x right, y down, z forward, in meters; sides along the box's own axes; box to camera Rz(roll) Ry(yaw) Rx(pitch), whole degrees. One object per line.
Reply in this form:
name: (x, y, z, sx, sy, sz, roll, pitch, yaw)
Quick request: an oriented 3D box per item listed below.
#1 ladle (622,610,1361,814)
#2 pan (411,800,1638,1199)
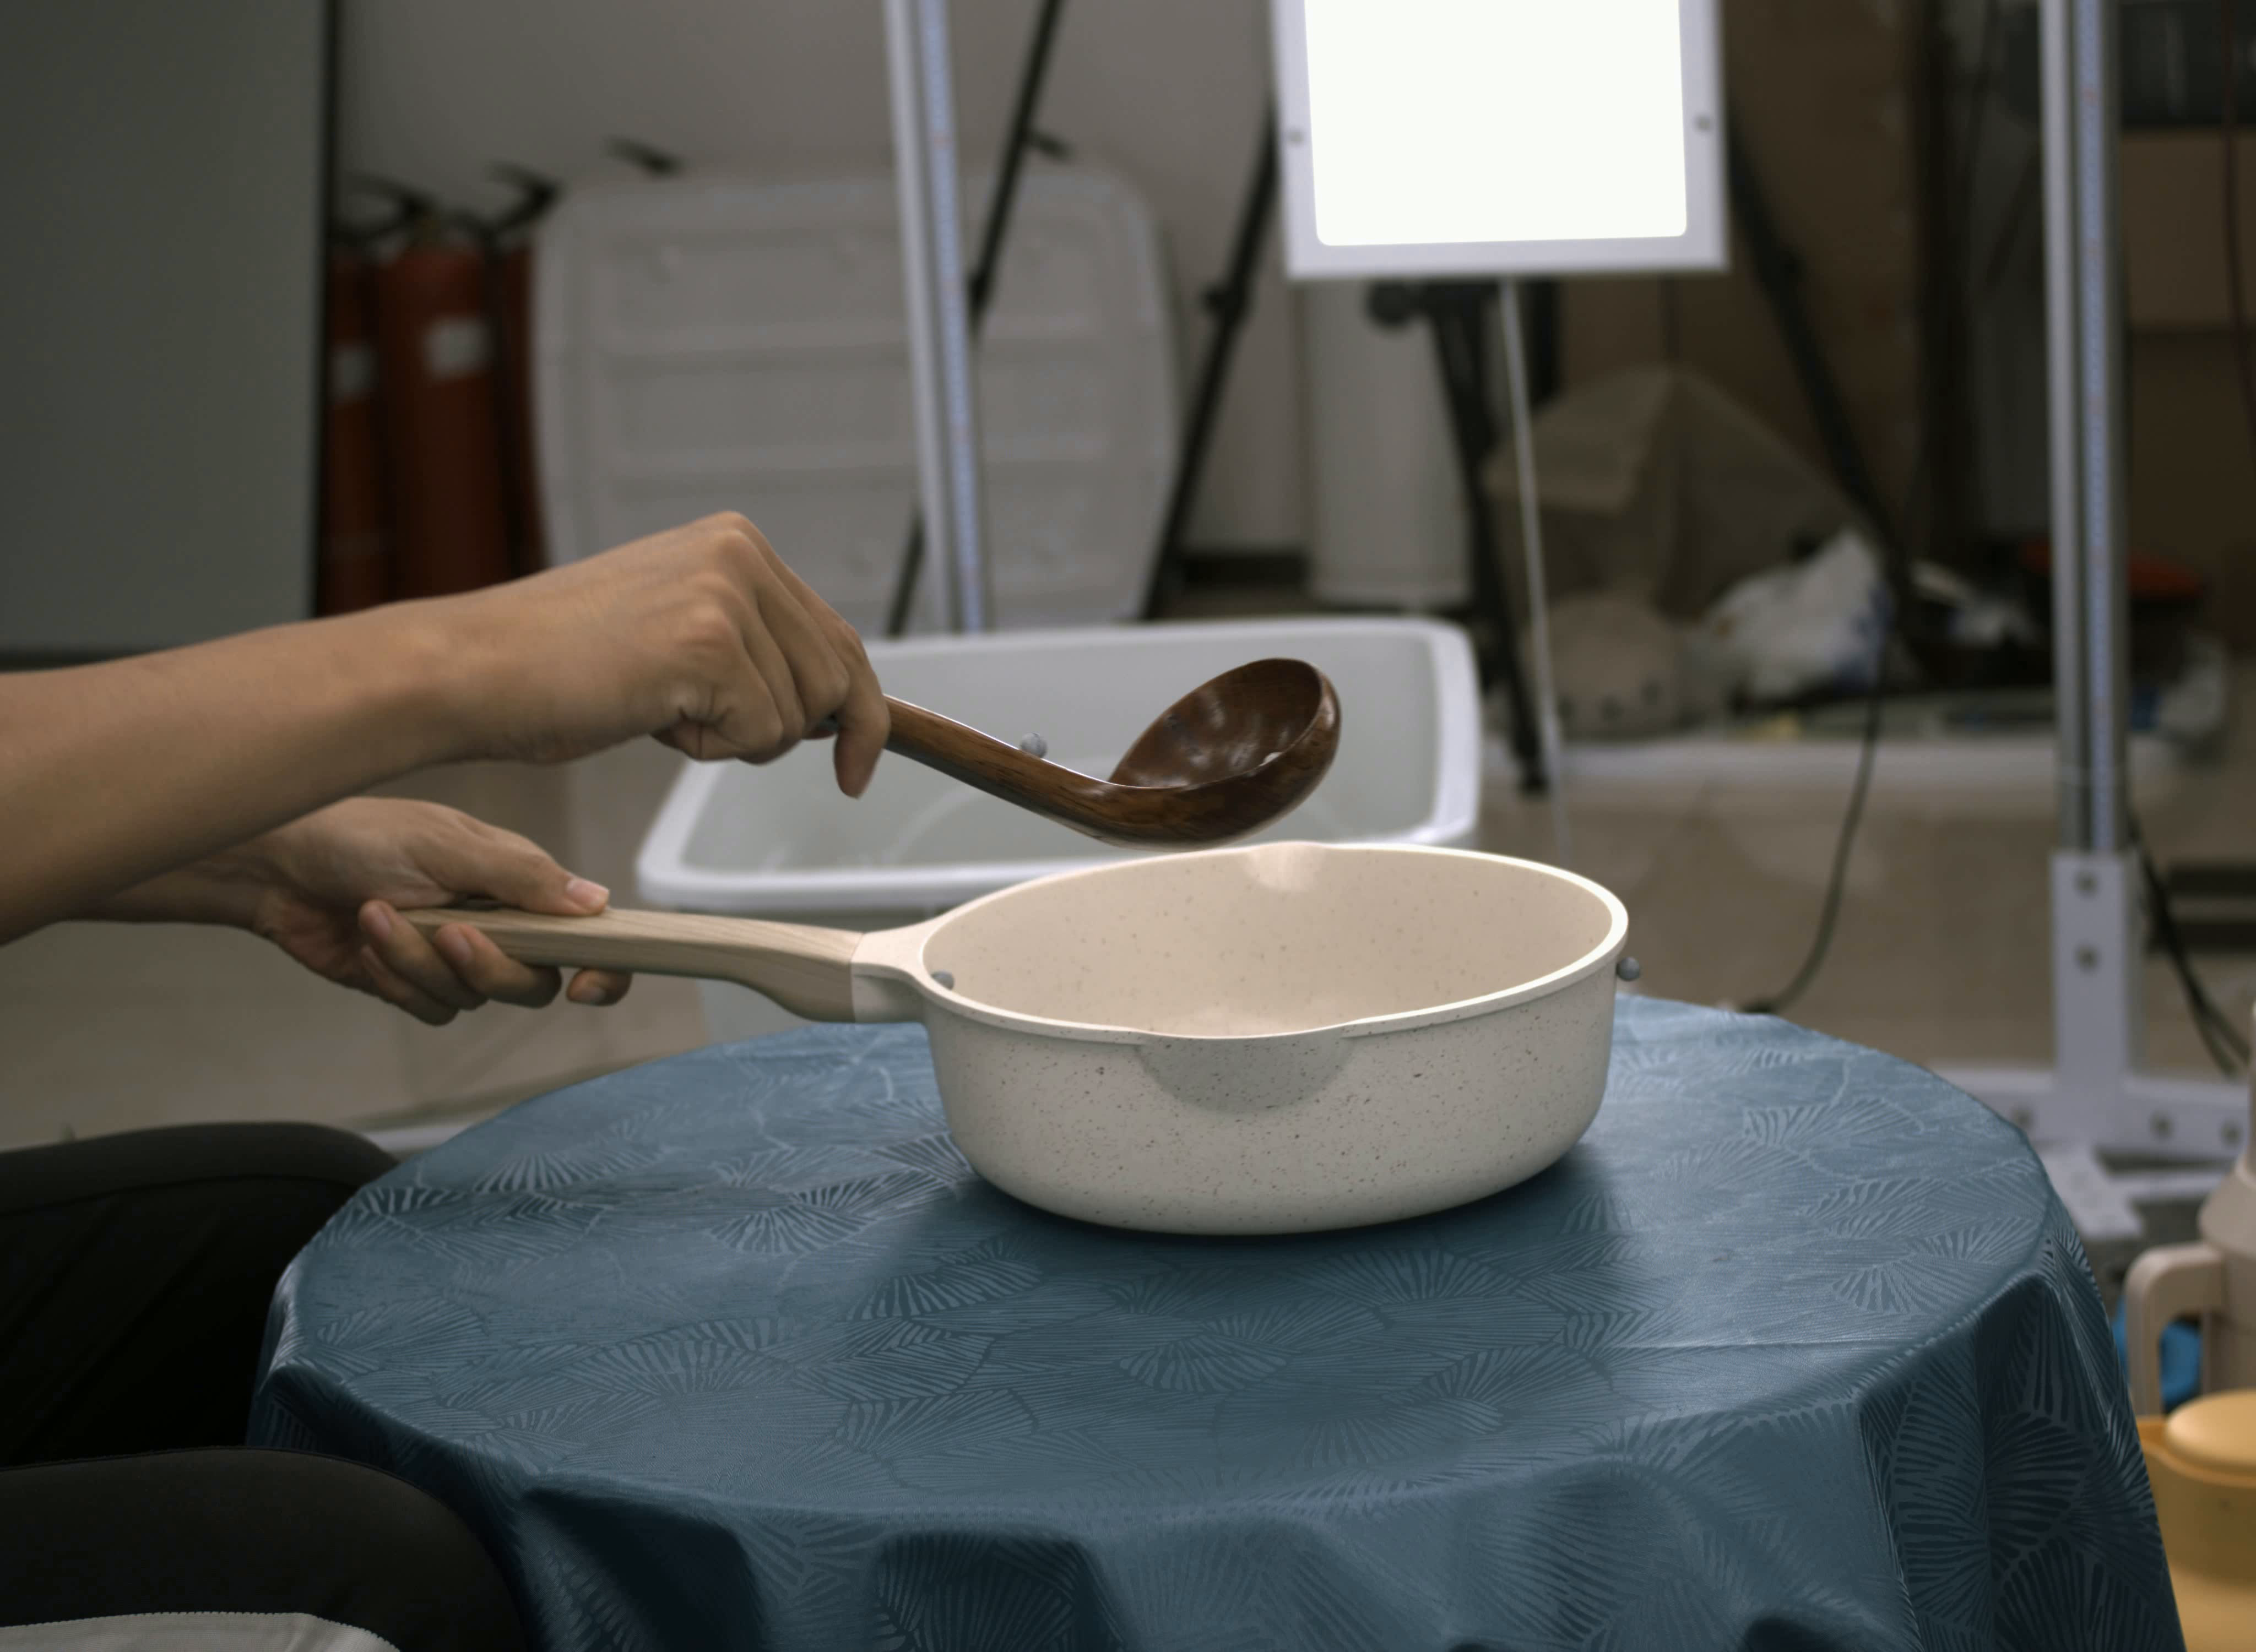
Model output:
ladle: (-0.038, -0.057, 1.684, 0.268, 0.076, 0.084, 16, -20, -39)
pan: (-0.035, 0.060, 1.948, 0.436, 0.102, 0.261, -3, 15, 8)
